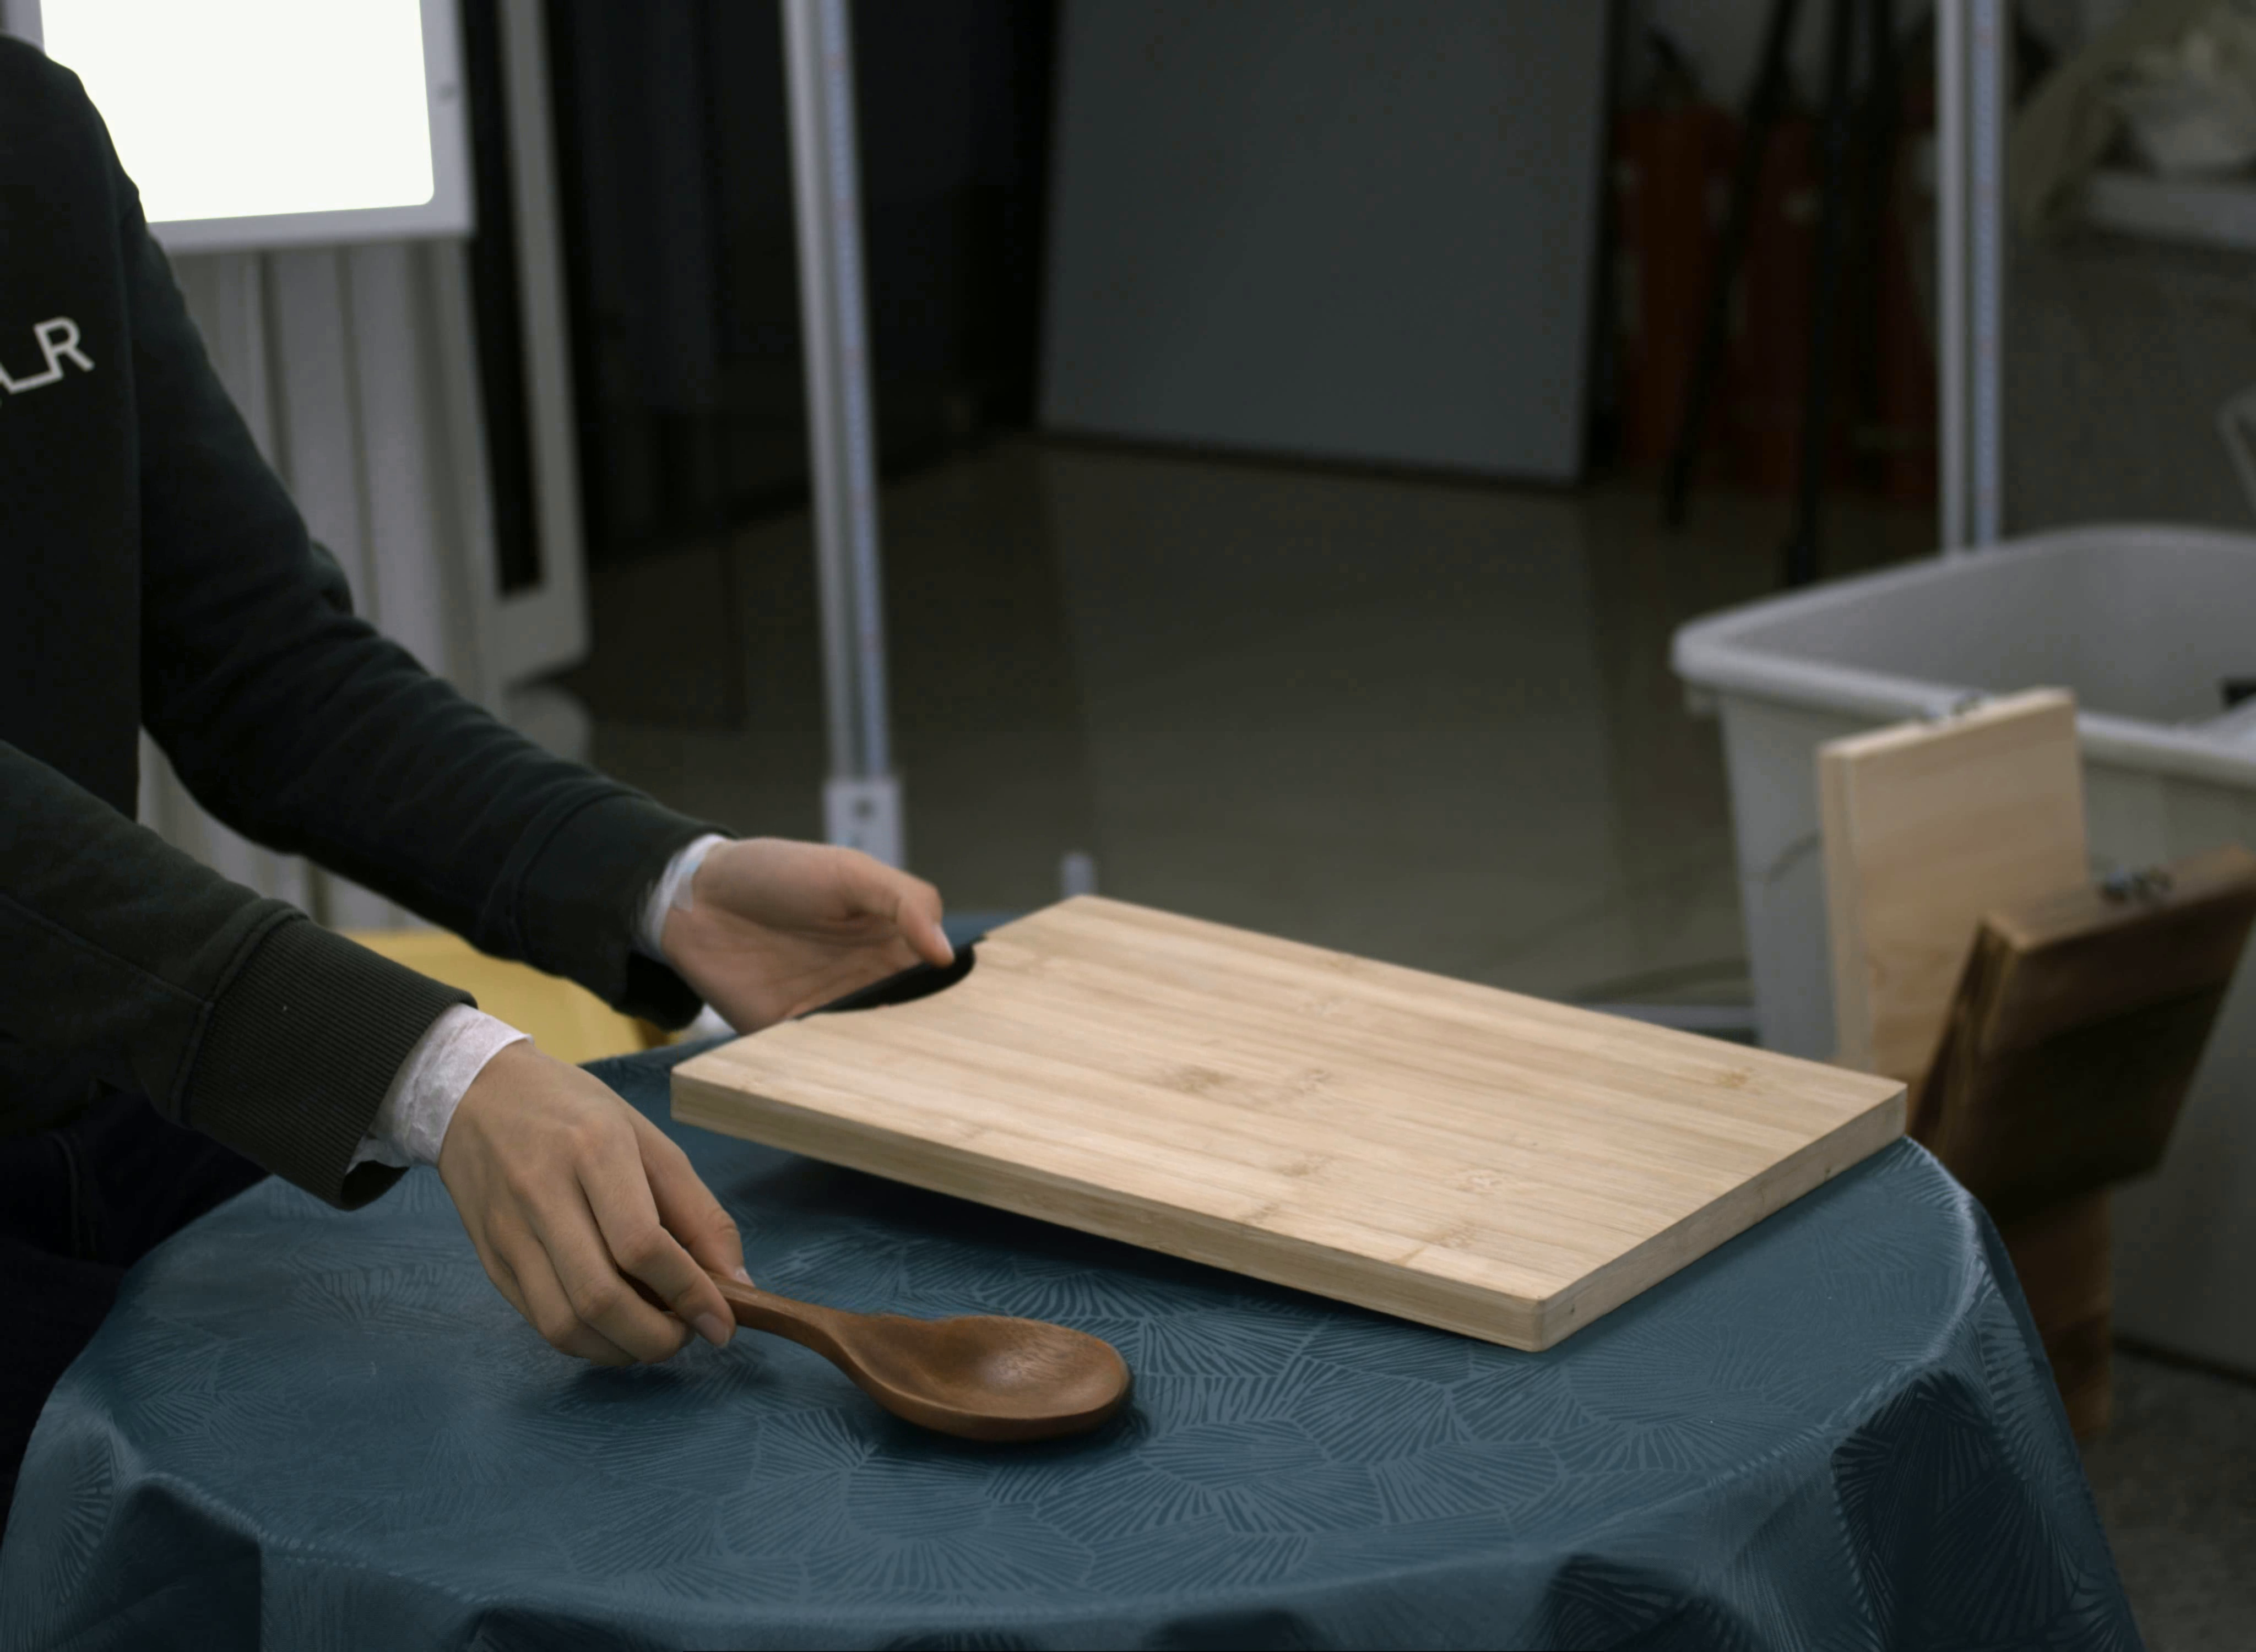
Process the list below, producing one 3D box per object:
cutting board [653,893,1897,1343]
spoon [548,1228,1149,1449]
[{"bbox_3d":[0.048,0.090,1.783,0.351,0.024,0.246,12,20,33],"label":"cutting board"},{"bbox_3d":[-0.087,0.151,1.606,0.217,0.017,0.074,14,23,34],"label":"spoon"}]
